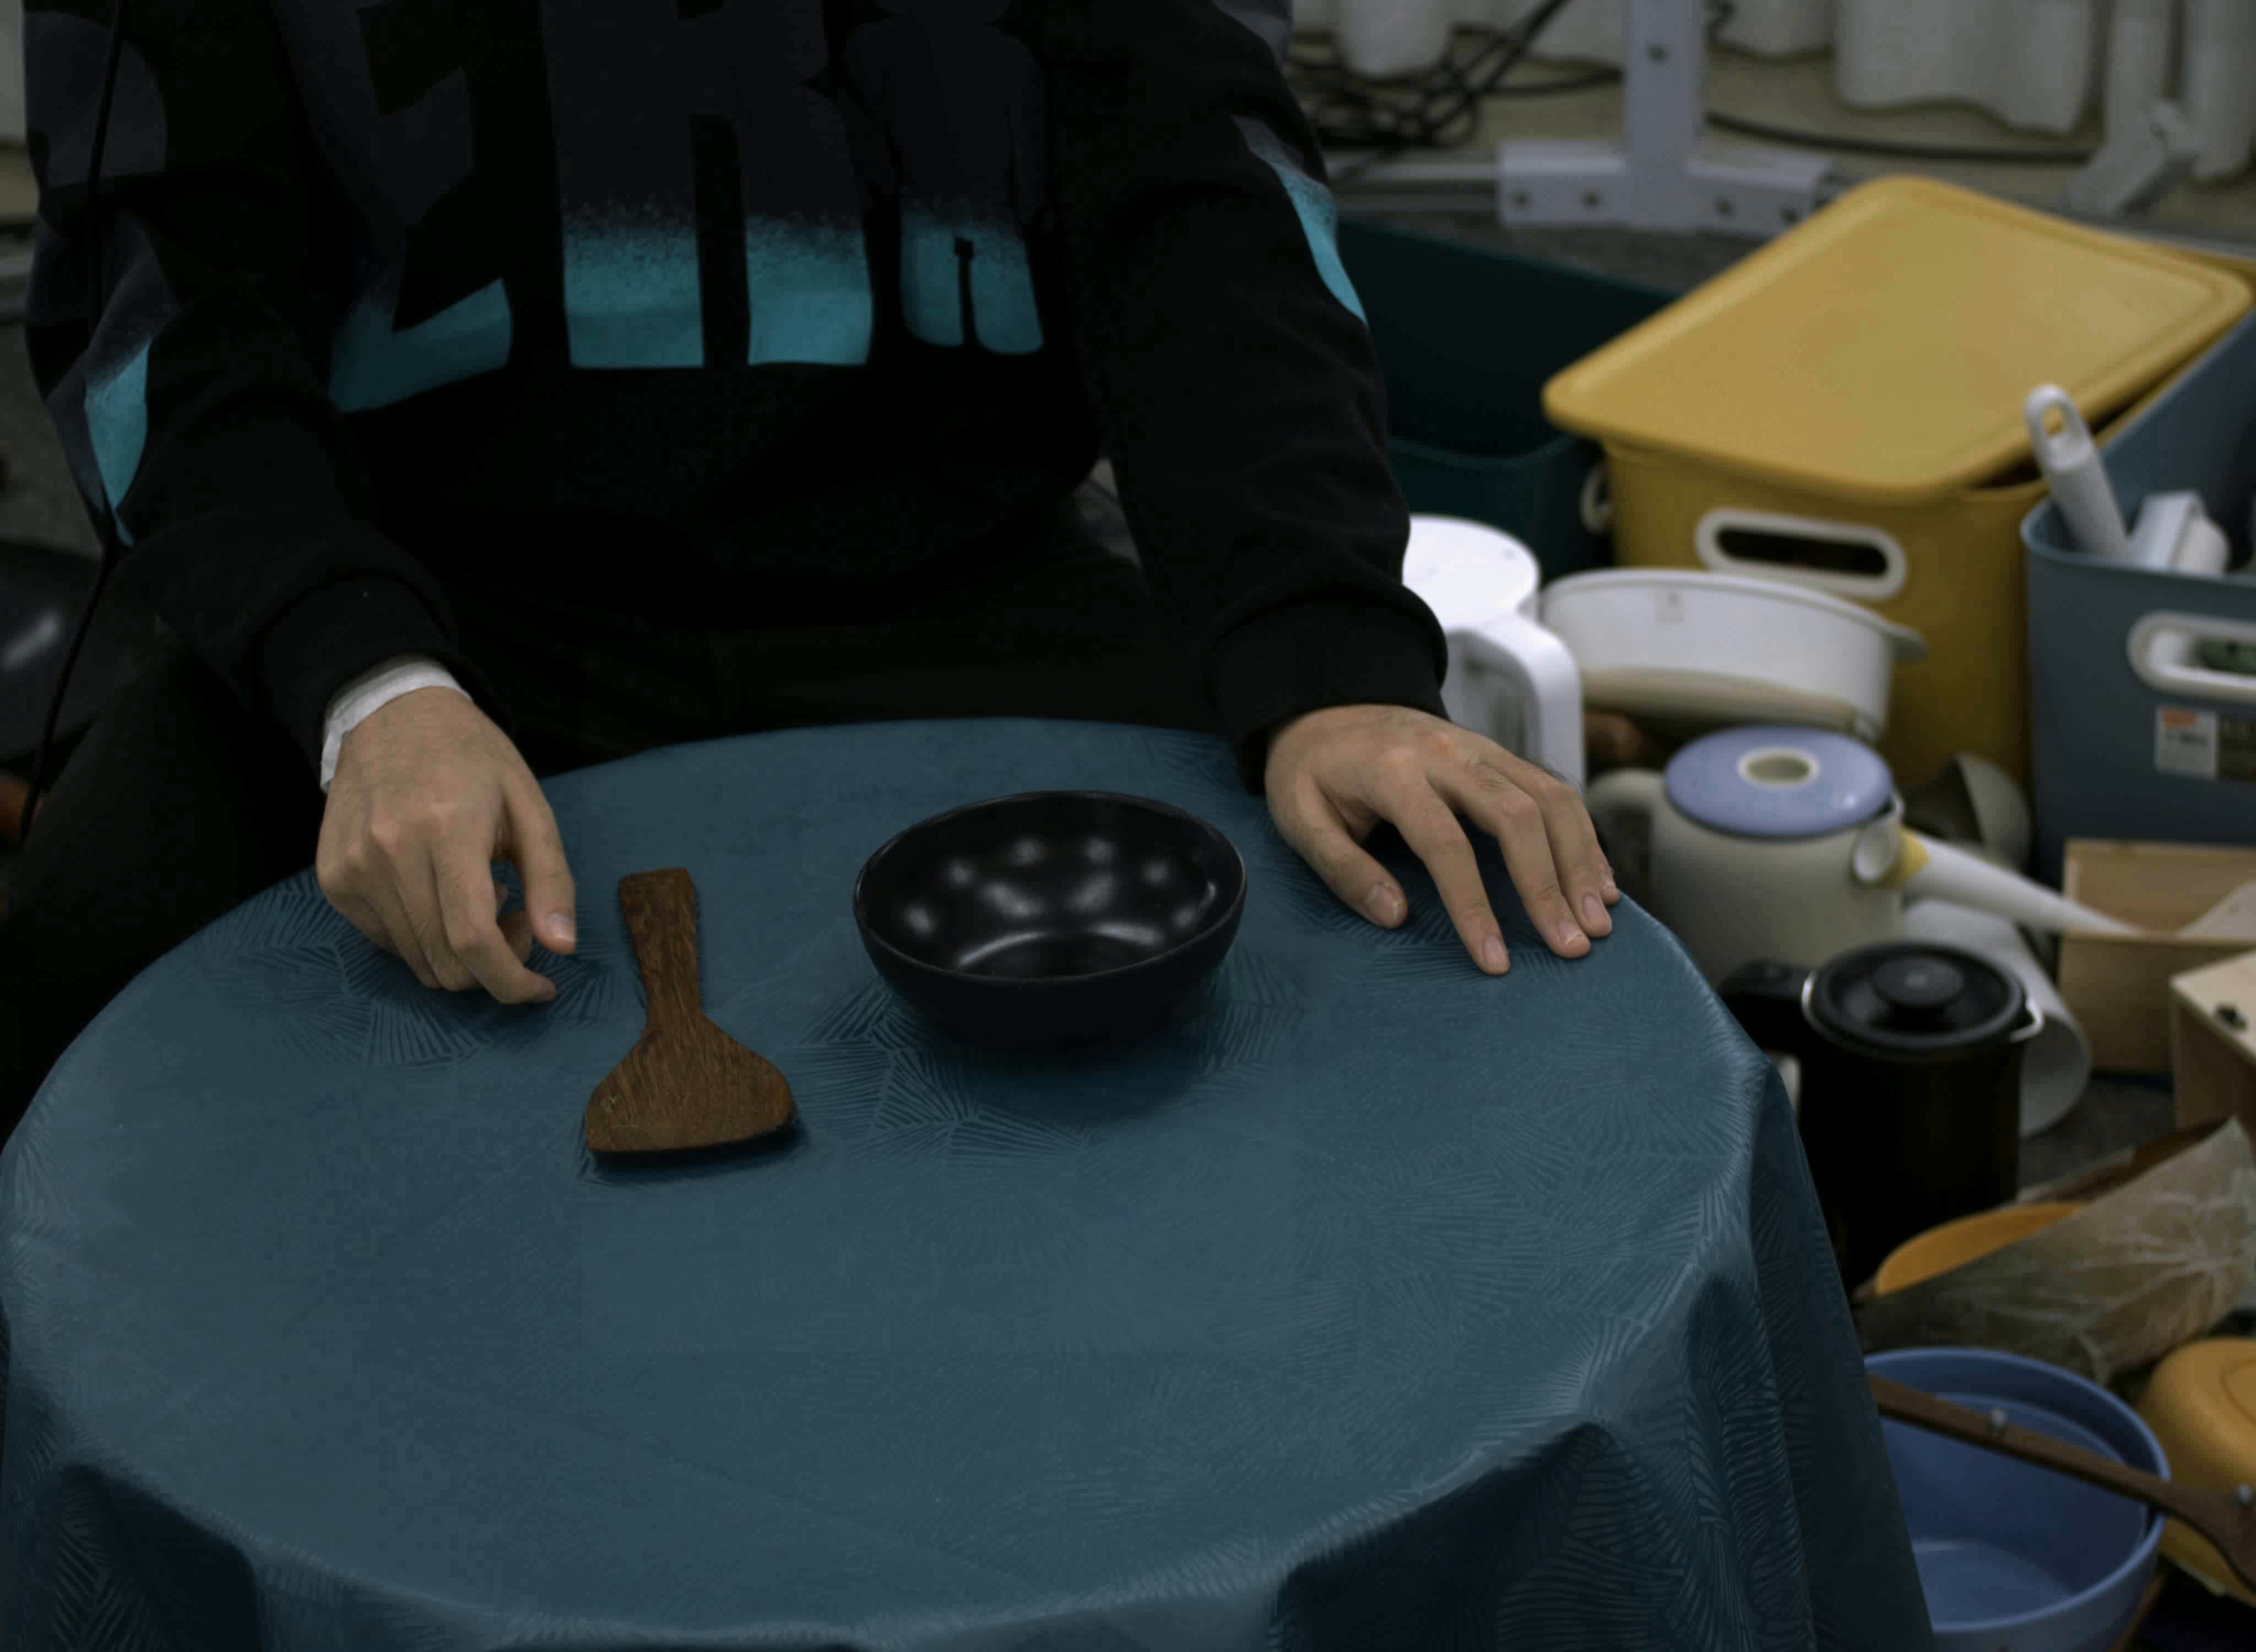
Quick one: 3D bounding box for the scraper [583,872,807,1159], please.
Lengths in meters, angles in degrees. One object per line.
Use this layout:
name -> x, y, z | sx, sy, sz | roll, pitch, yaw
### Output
scraper -> -0.158, 0.066, 1.977 | 0.075, 0.011, 0.214 | -5, 27, -6

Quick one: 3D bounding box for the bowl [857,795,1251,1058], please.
bowl -> -0.024, 0.043, 1.966 | 0.139, 0.049, 0.142 | -5, 27, 3
